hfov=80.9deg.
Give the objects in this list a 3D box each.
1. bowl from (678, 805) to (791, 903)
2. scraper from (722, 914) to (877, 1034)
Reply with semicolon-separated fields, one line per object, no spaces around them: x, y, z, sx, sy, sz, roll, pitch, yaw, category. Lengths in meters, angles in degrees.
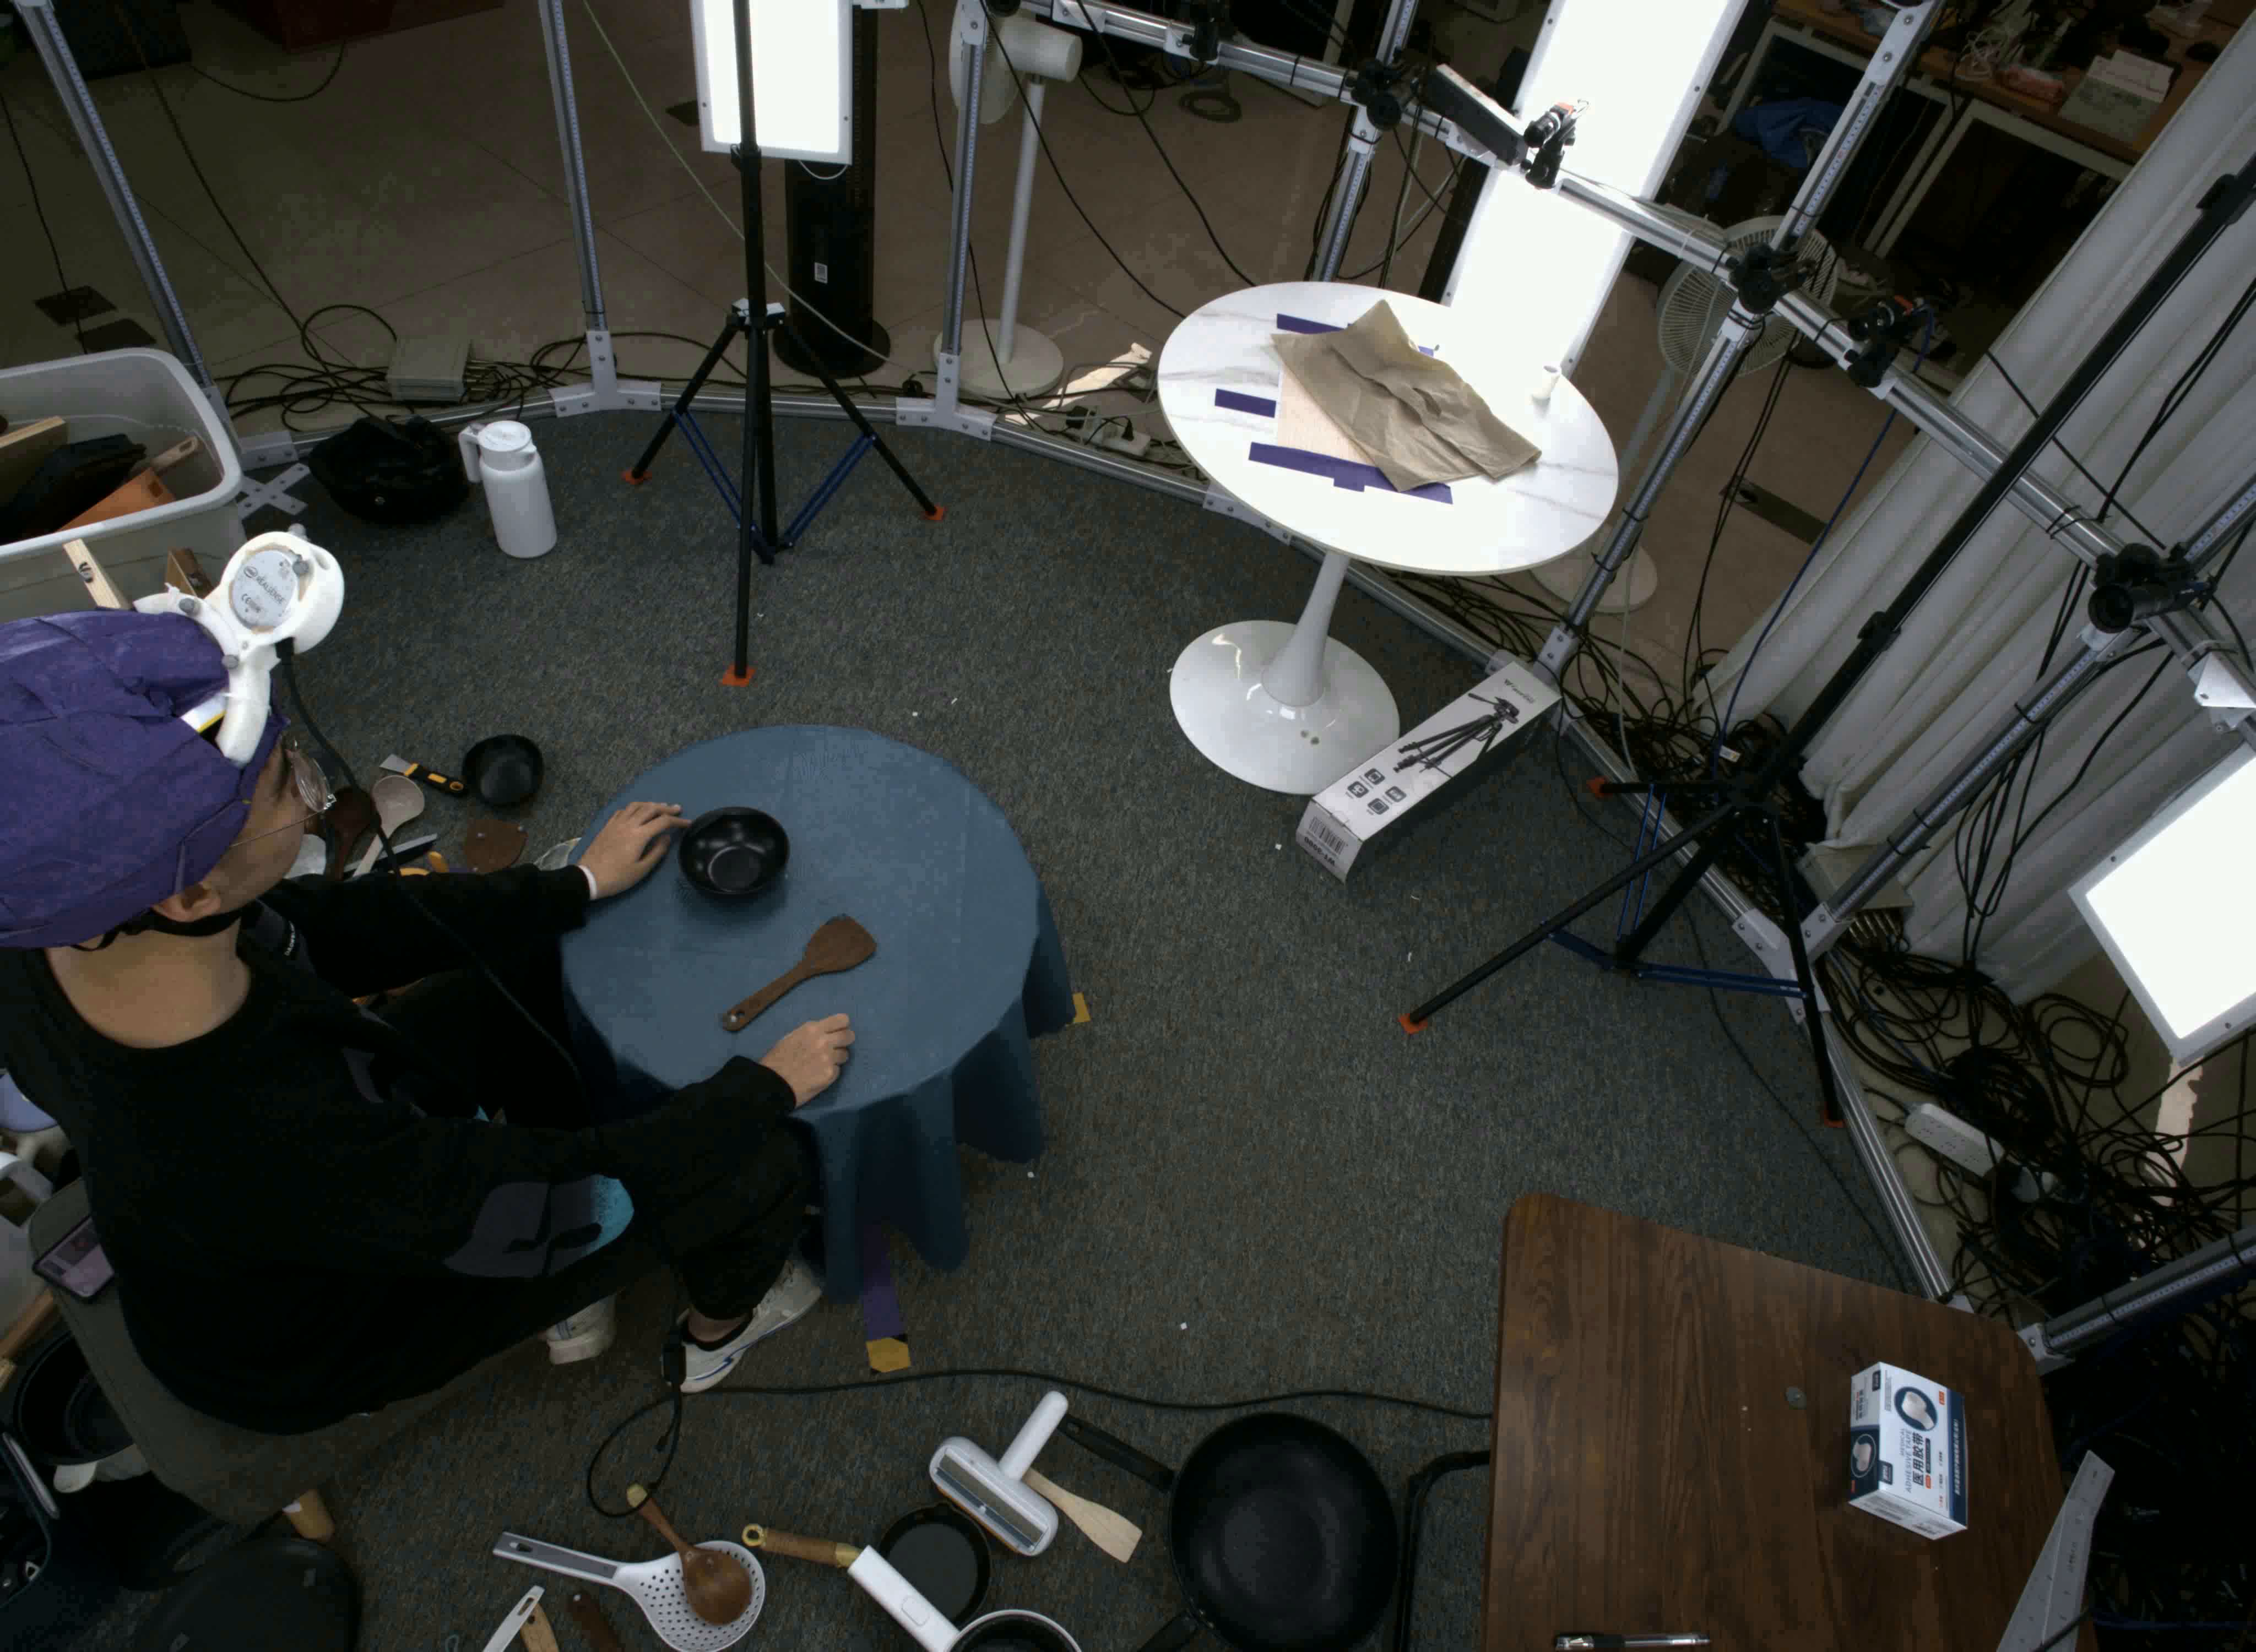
-0.500;0.042;1.648;0.140;0.050;0.138;8;55;-10;bowl
-0.407;0.183;1.592;0.074;0.011;0.211;40;55;18;scraper
